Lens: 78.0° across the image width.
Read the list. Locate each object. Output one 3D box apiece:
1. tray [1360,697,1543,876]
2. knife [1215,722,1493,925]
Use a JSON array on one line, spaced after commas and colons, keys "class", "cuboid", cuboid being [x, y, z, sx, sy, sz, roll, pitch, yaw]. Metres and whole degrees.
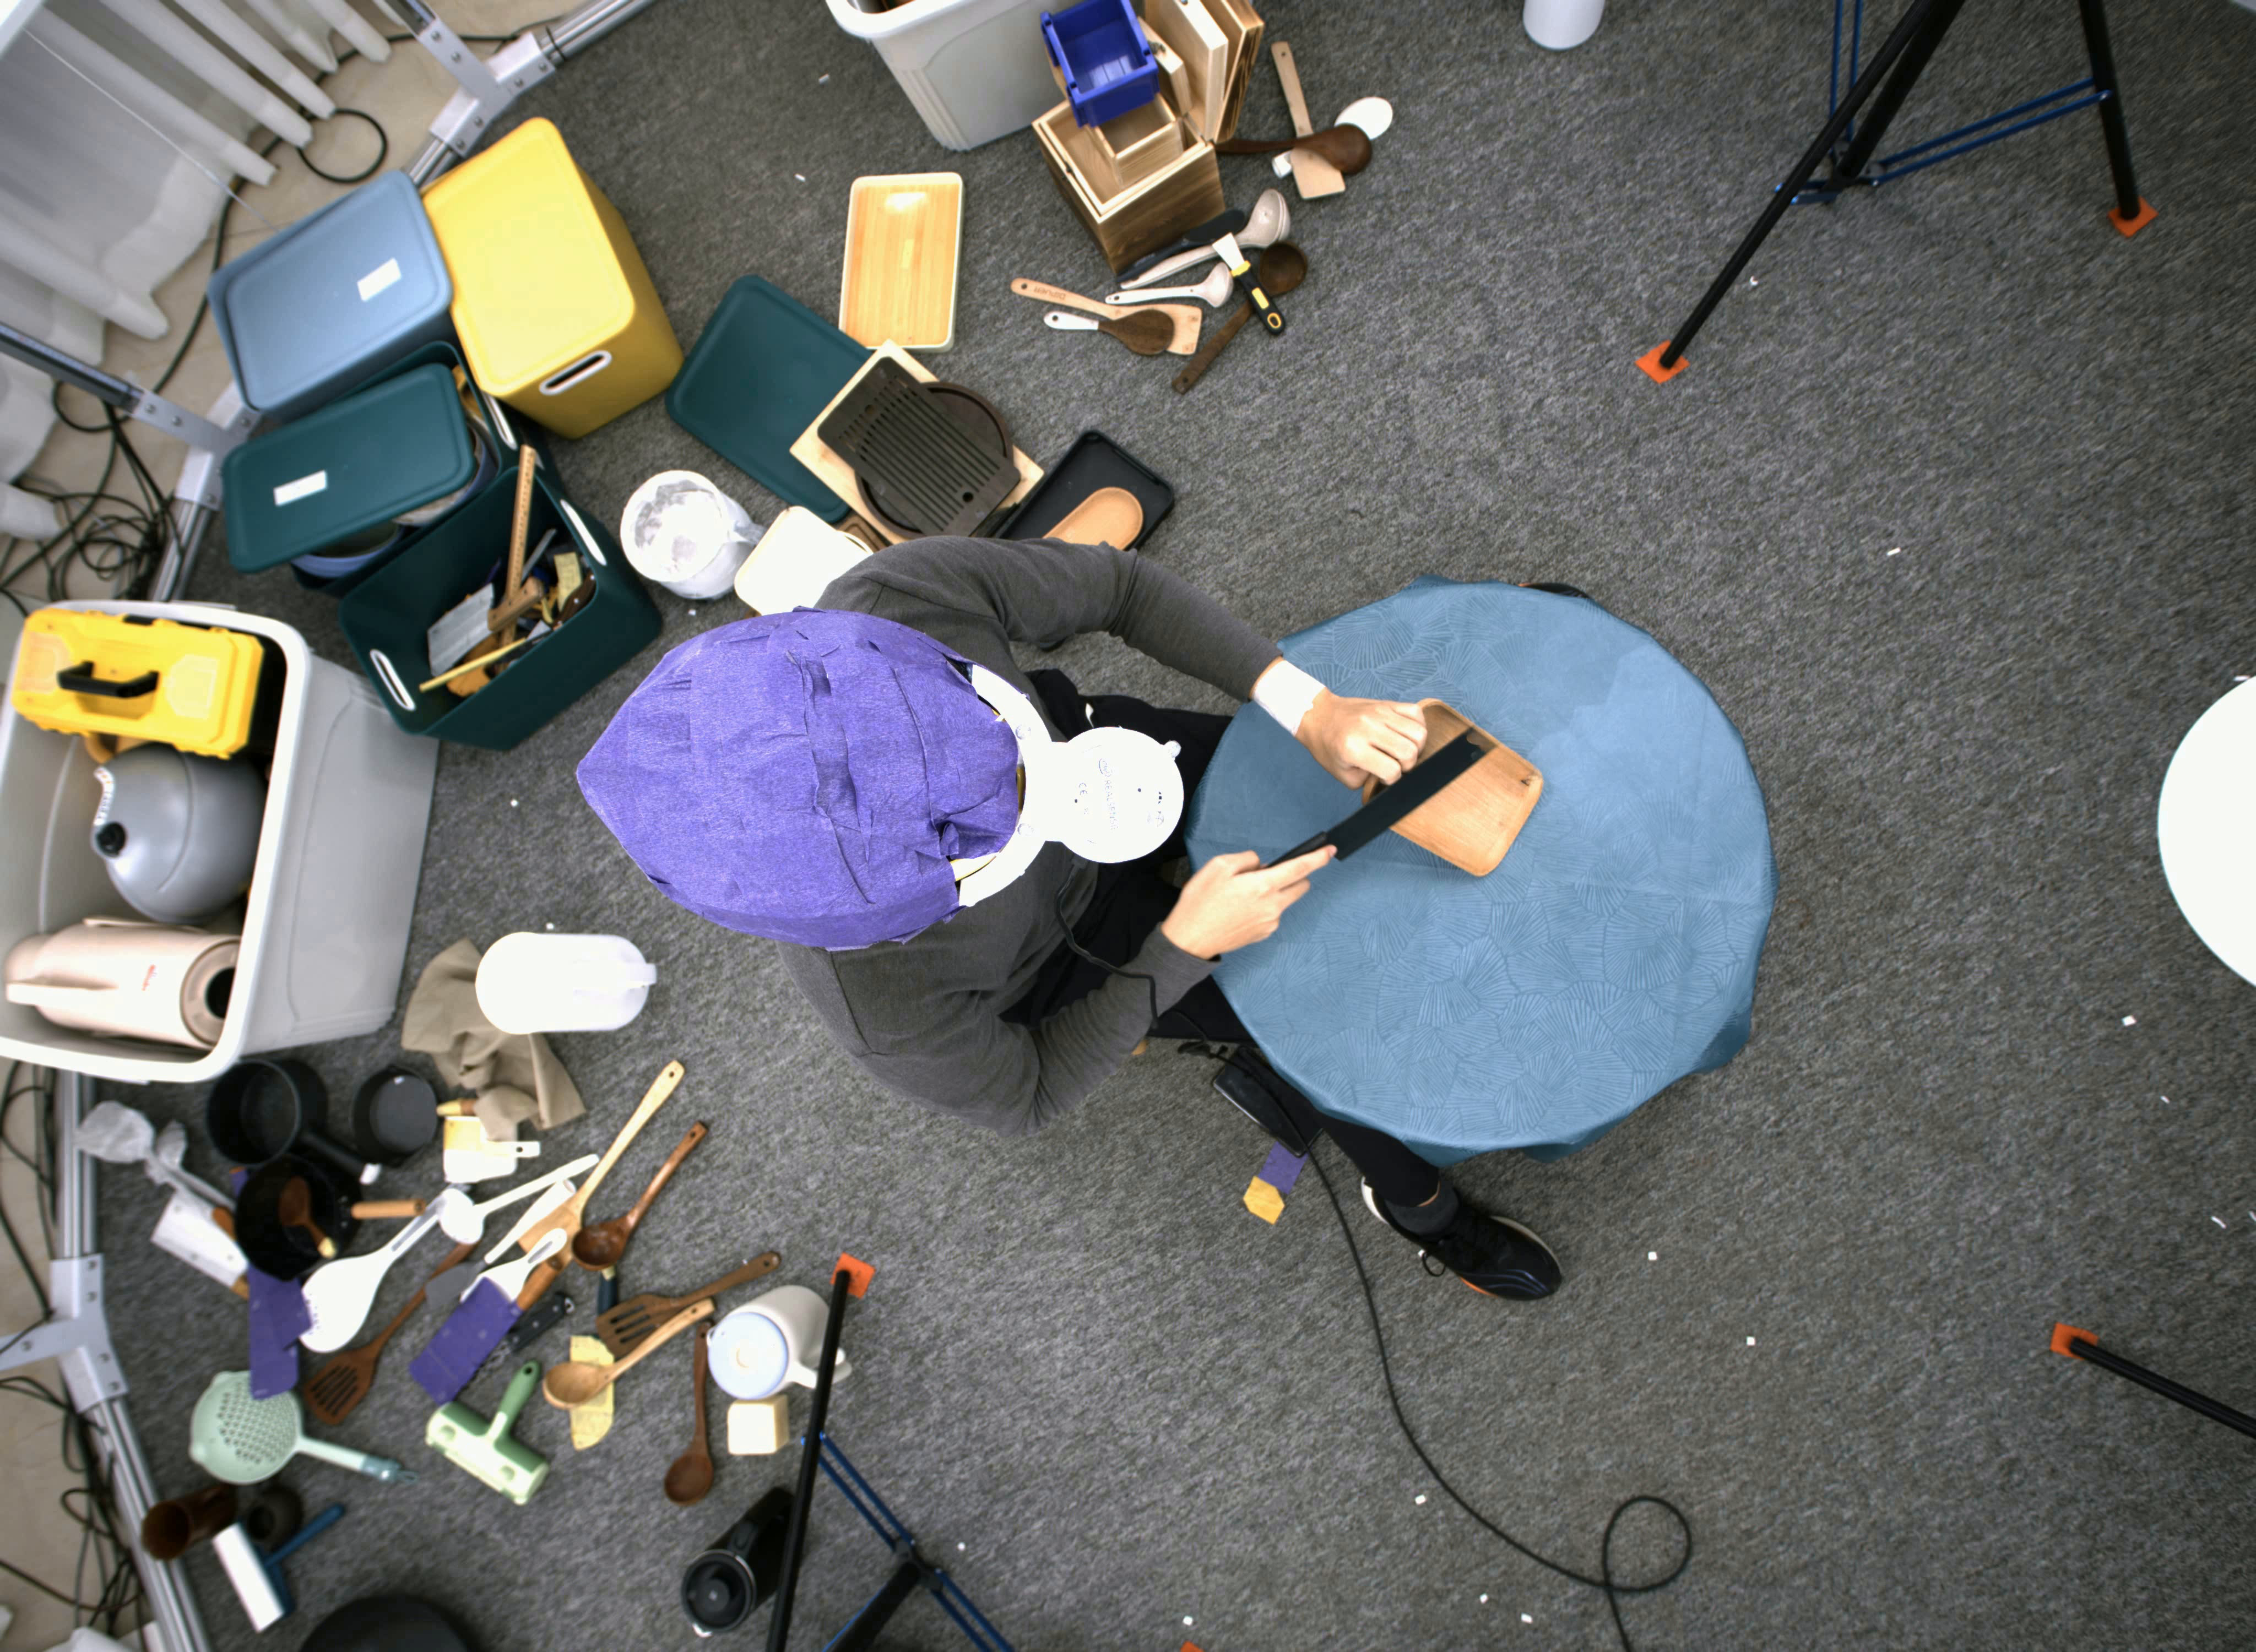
[{"class": "tray", "cuboid": [0.320, -0.037, 1.347, 0.022, 0.252, 0.131, 36, 99, 46]}, {"class": "knife", "cuboid": [0.205, 0.001, 1.272, 0.305, 0.081, 0.020, -35, 59, 12]}]
